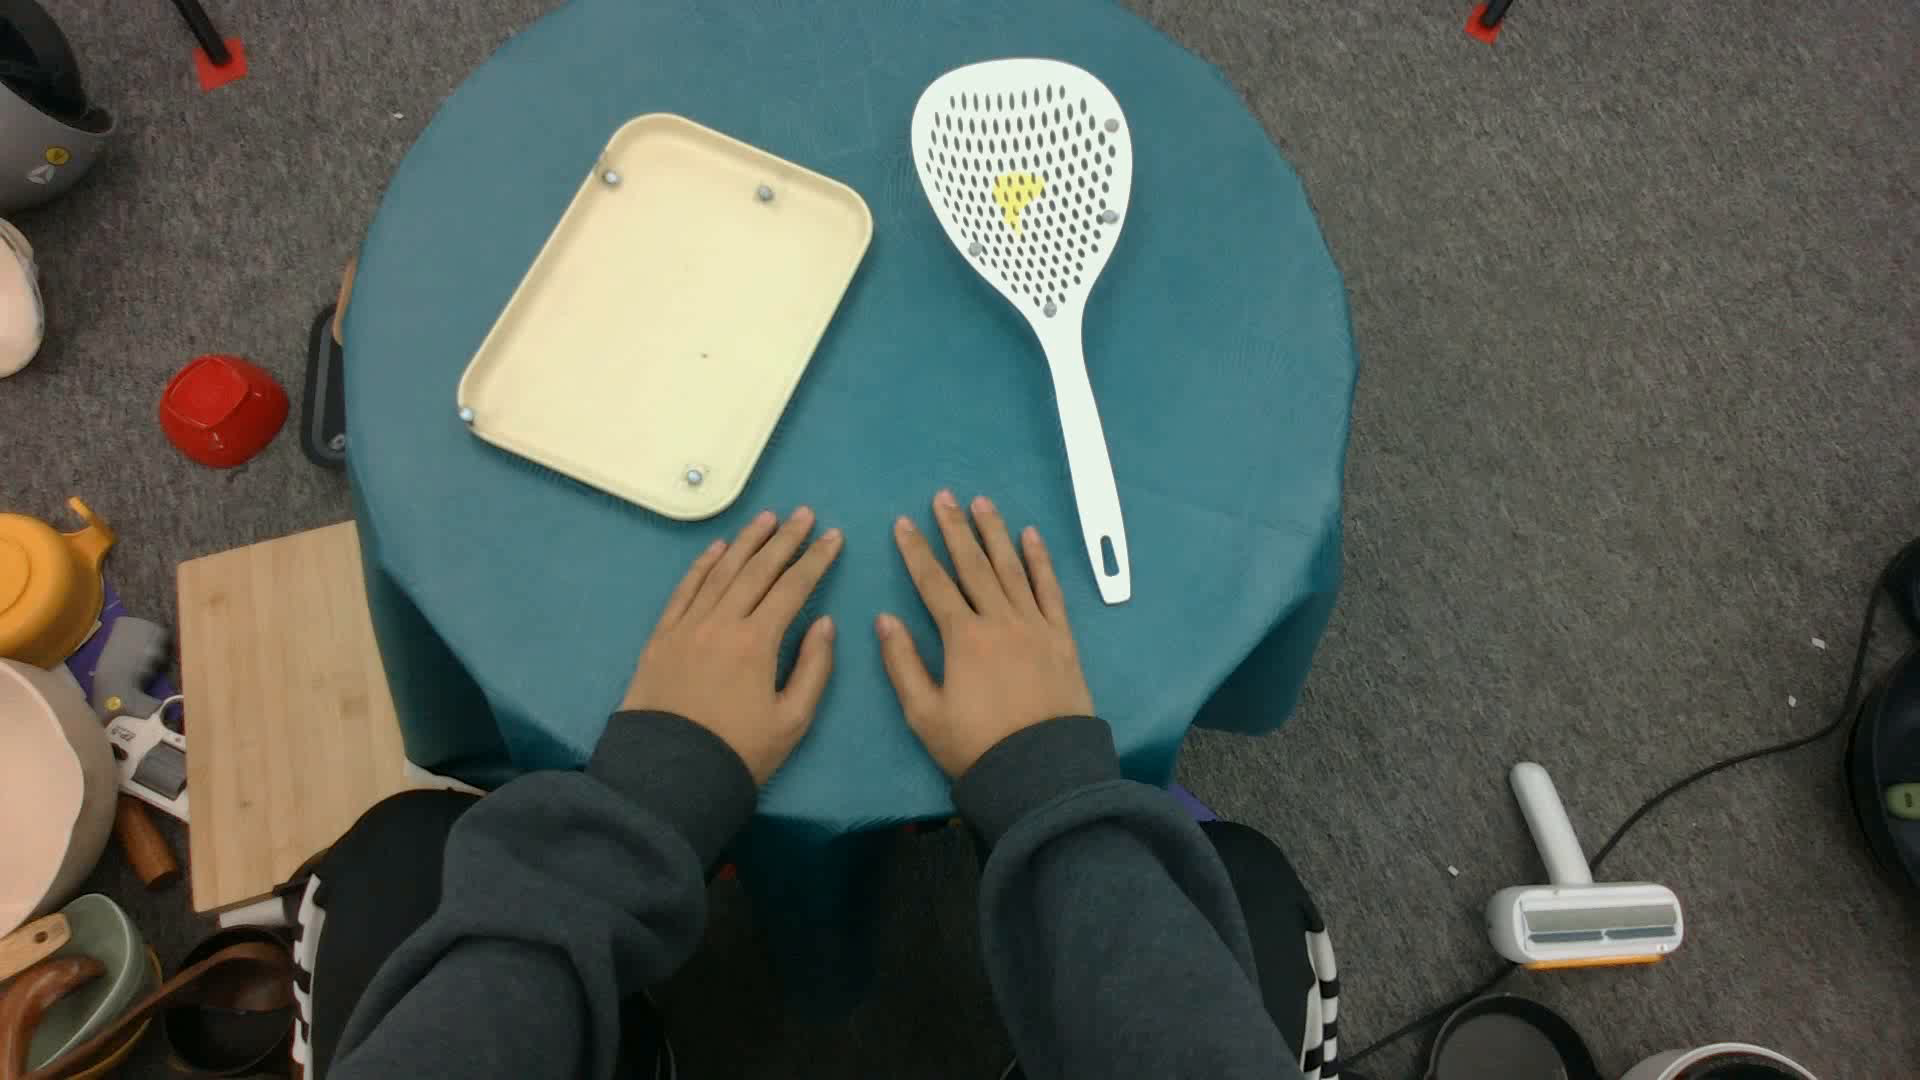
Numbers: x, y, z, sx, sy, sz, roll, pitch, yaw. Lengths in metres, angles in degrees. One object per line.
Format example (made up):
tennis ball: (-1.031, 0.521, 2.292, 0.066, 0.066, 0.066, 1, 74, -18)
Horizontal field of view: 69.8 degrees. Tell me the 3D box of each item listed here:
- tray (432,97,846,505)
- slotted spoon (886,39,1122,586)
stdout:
tray: (-0.182, -0.143, 0.805, 0.171, 0.017, 0.240, 23, 69, 2)
slotted spoon: (0.044, -0.142, 0.816, 0.137, 0.050, 0.348, -9, 71, -11)
